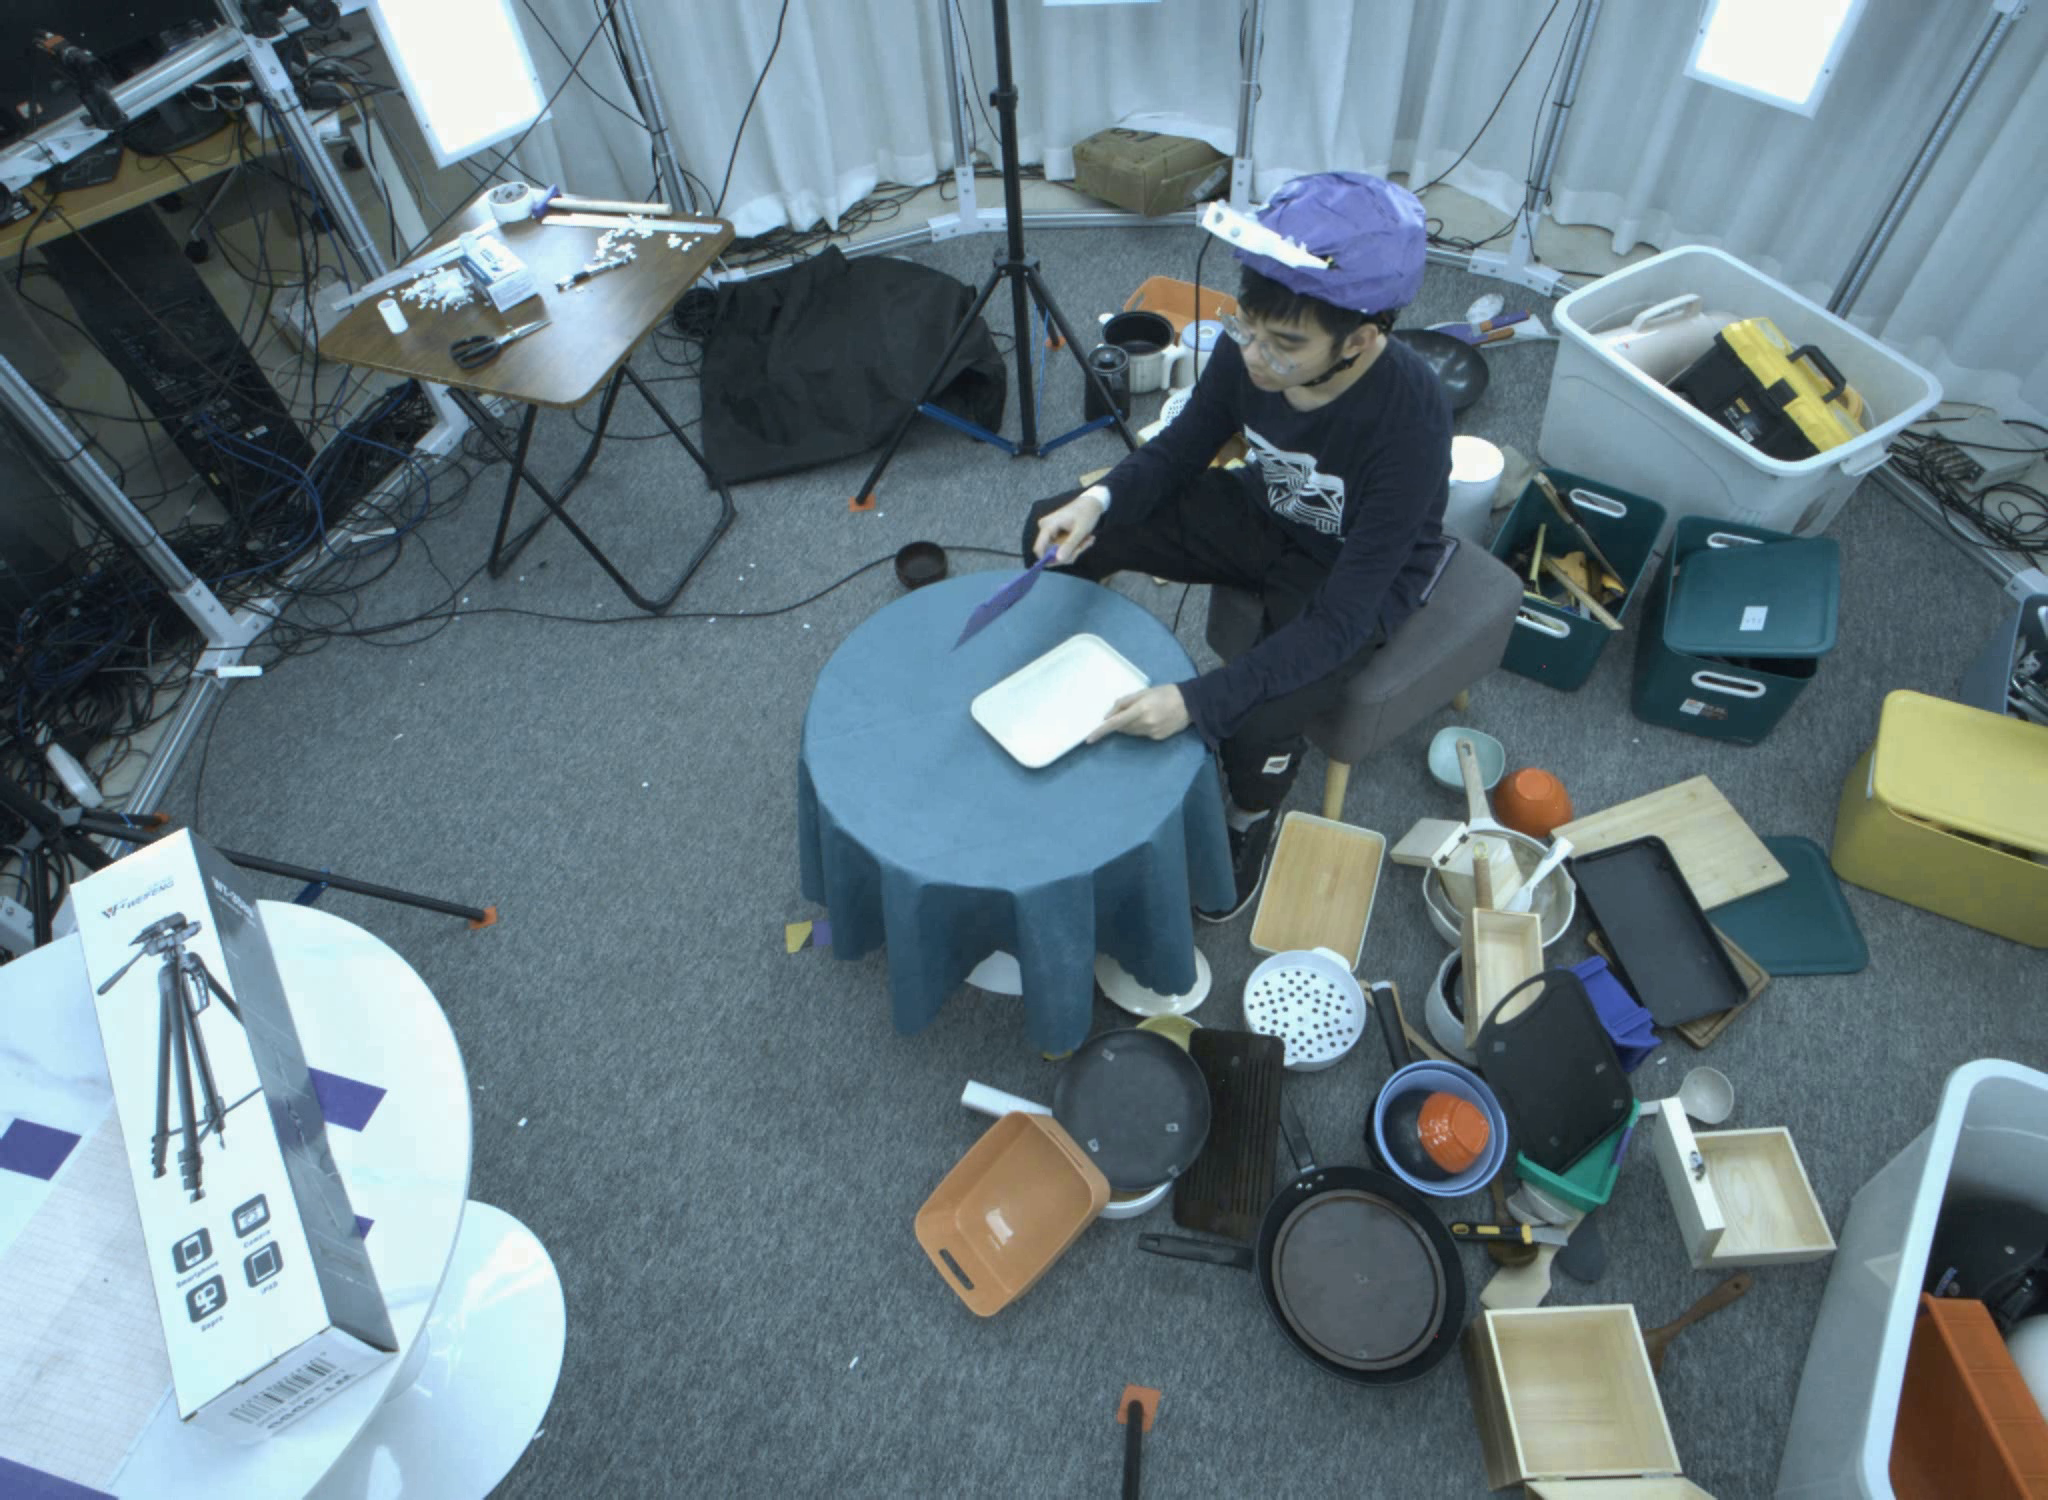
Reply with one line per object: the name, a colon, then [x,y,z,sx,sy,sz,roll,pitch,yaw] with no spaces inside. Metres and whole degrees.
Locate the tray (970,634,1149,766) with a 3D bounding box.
tray: [0.053,-0.076,1.830,0.241,0.018,0.168,-33,55,-20]

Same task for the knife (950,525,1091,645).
knife: [-0.008,-0.246,1.815,0.032,0.103,0.318,45,46,5]
